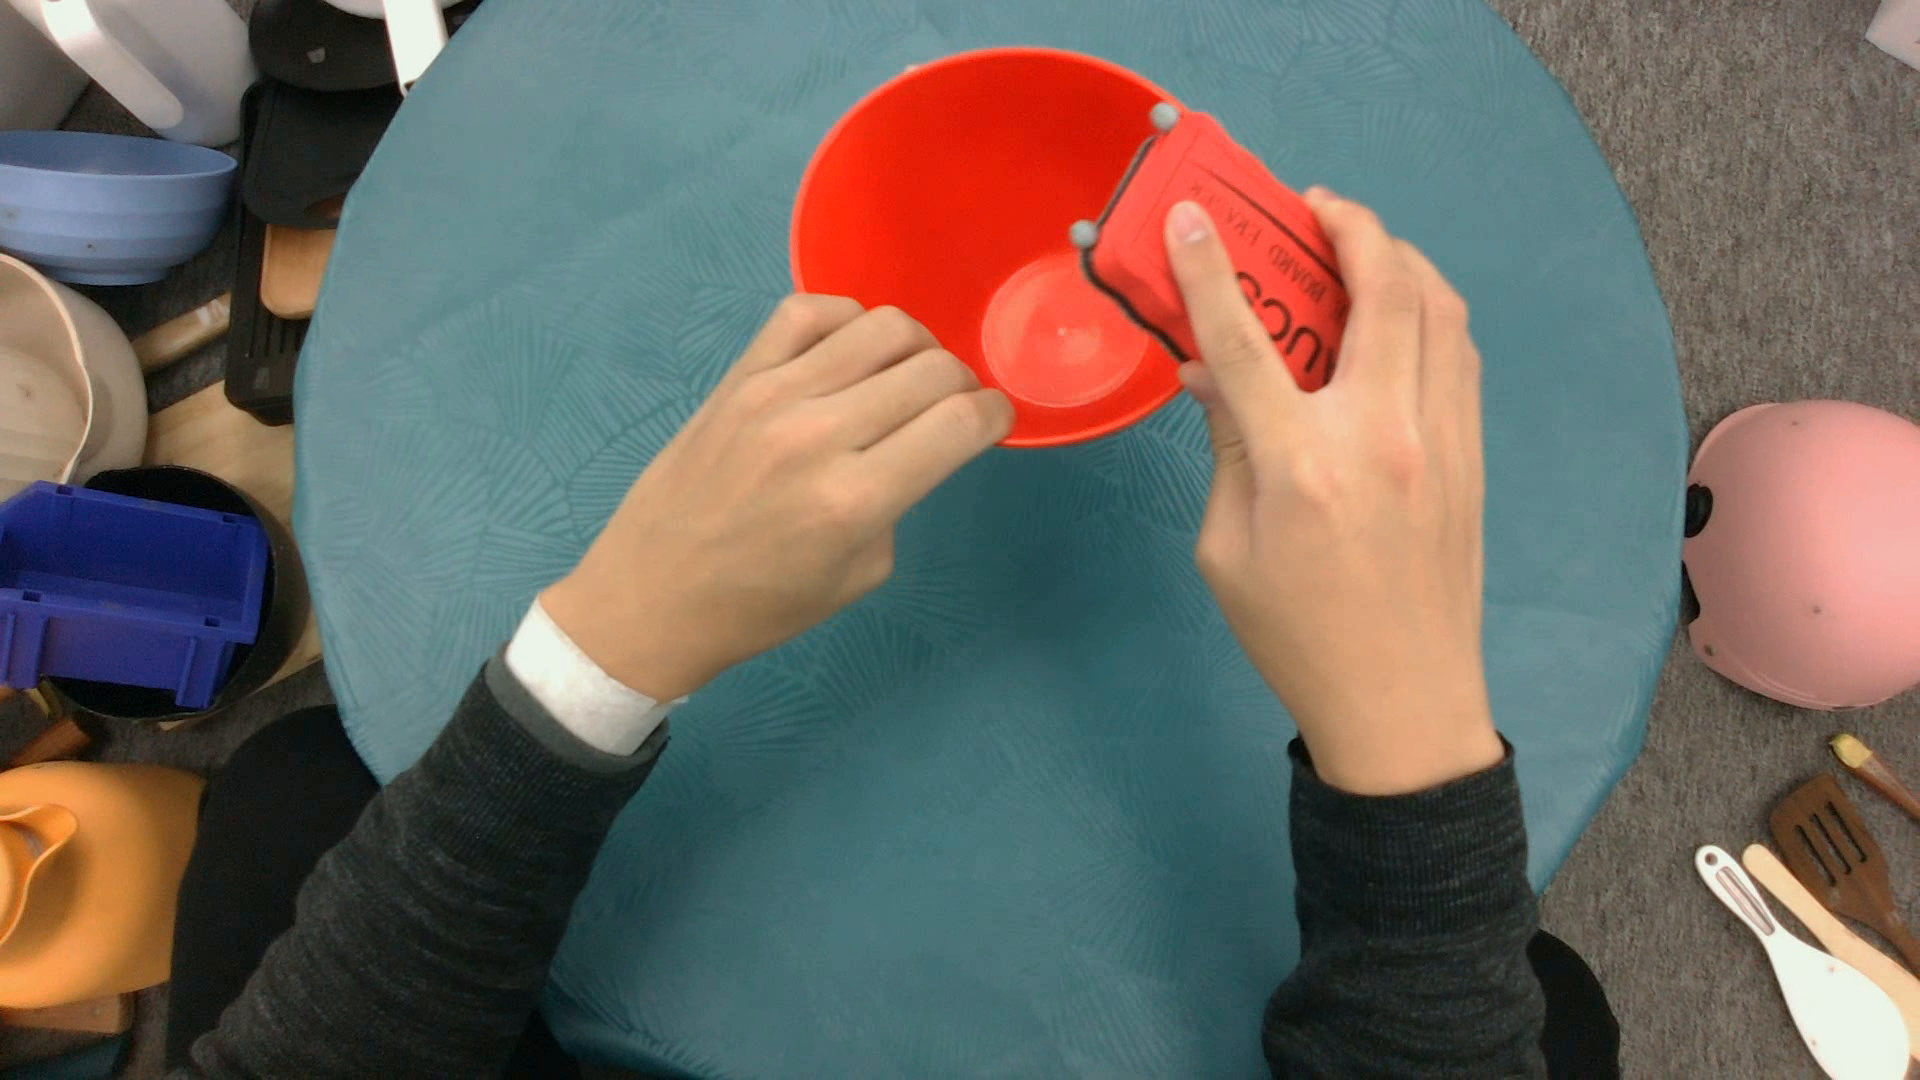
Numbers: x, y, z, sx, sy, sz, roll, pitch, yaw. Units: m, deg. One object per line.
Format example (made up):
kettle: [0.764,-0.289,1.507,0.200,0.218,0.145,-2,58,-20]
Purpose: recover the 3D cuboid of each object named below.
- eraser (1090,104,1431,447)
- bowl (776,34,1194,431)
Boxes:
eraser: [0.095,-0.080,0.426,0.108,0.023,0.059,36,71,-18]
bowl: [0.020,-0.093,0.484,0.148,0.104,0.148,-2,74,7]
